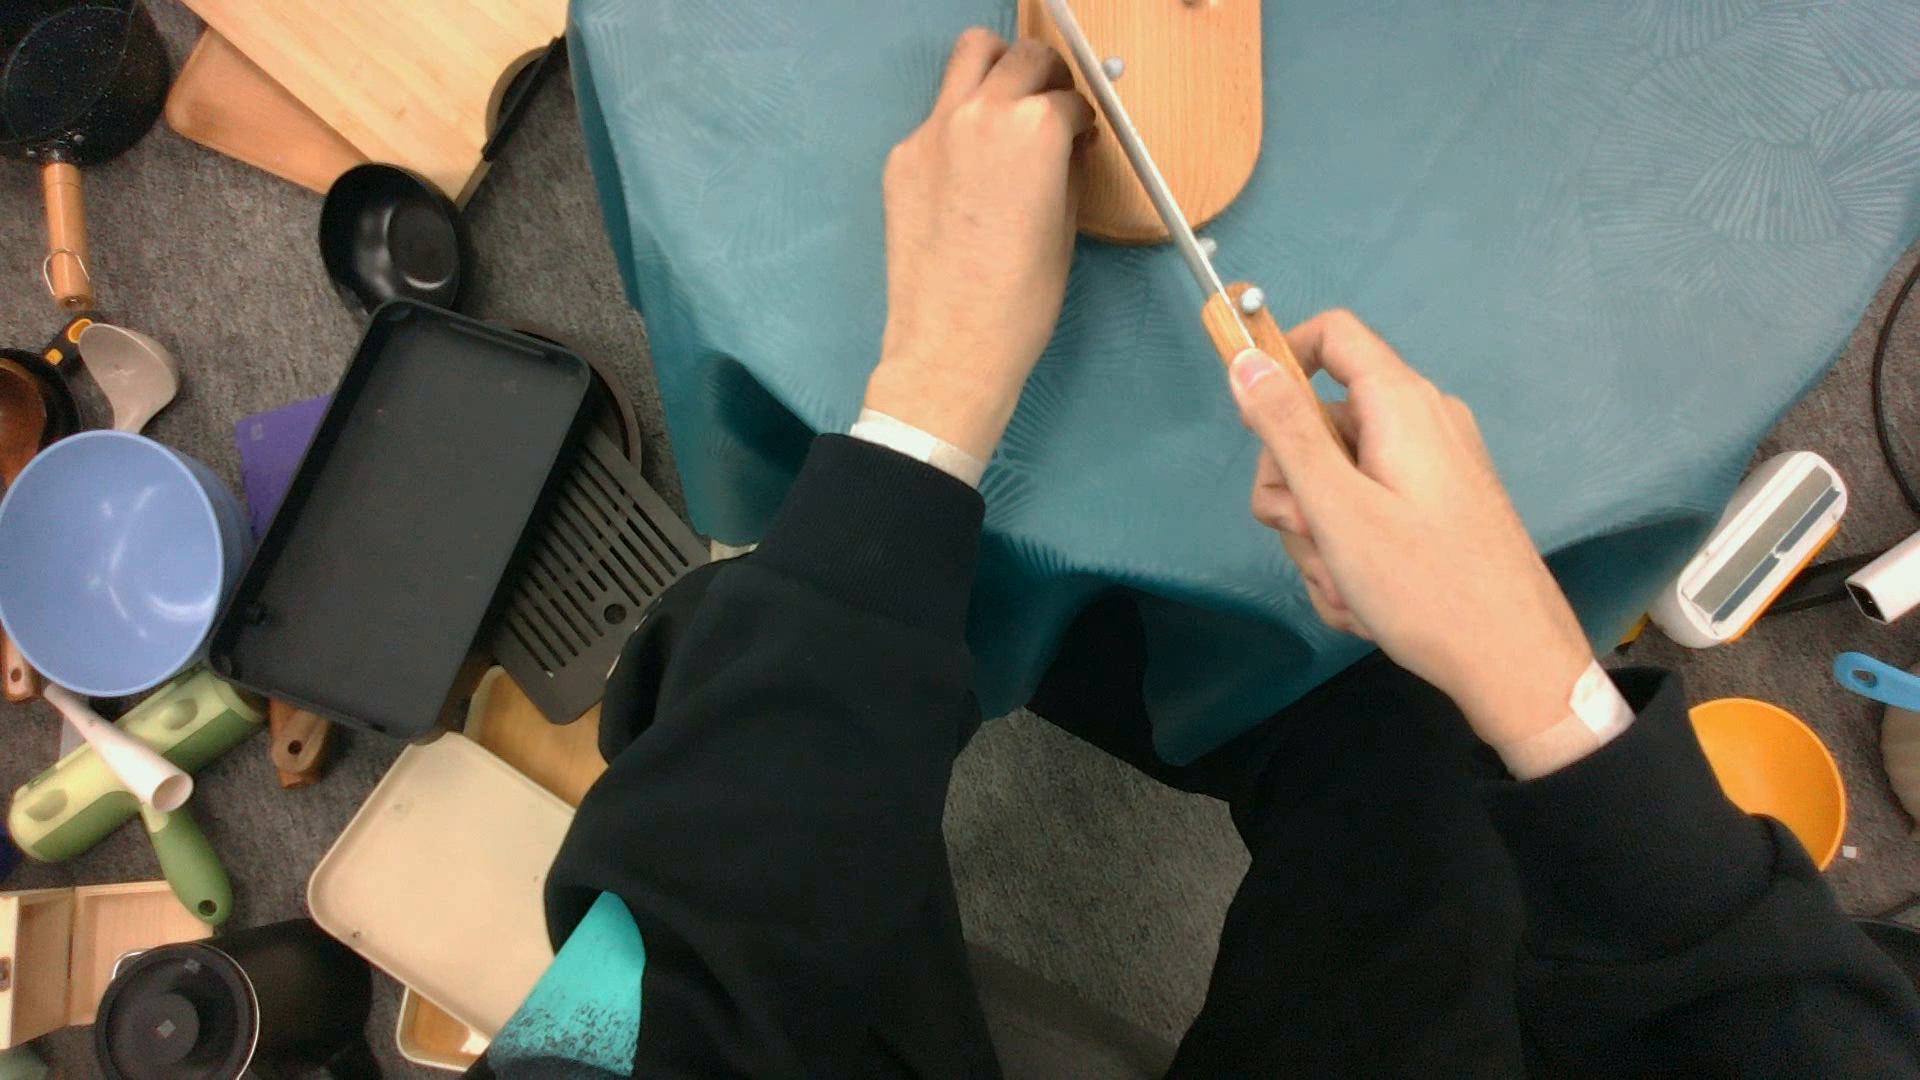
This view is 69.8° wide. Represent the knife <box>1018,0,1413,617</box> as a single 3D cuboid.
[{"bbox_3d":[0.078,-0.106,0.501,0.021,0.093,0.306,-29,75,10],"label":"knife"}]

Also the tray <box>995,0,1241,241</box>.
[{"bbox_3d":[0.066,-0.236,0.585,0.101,0.020,0.231,0,81,3],"label":"tray"}]
